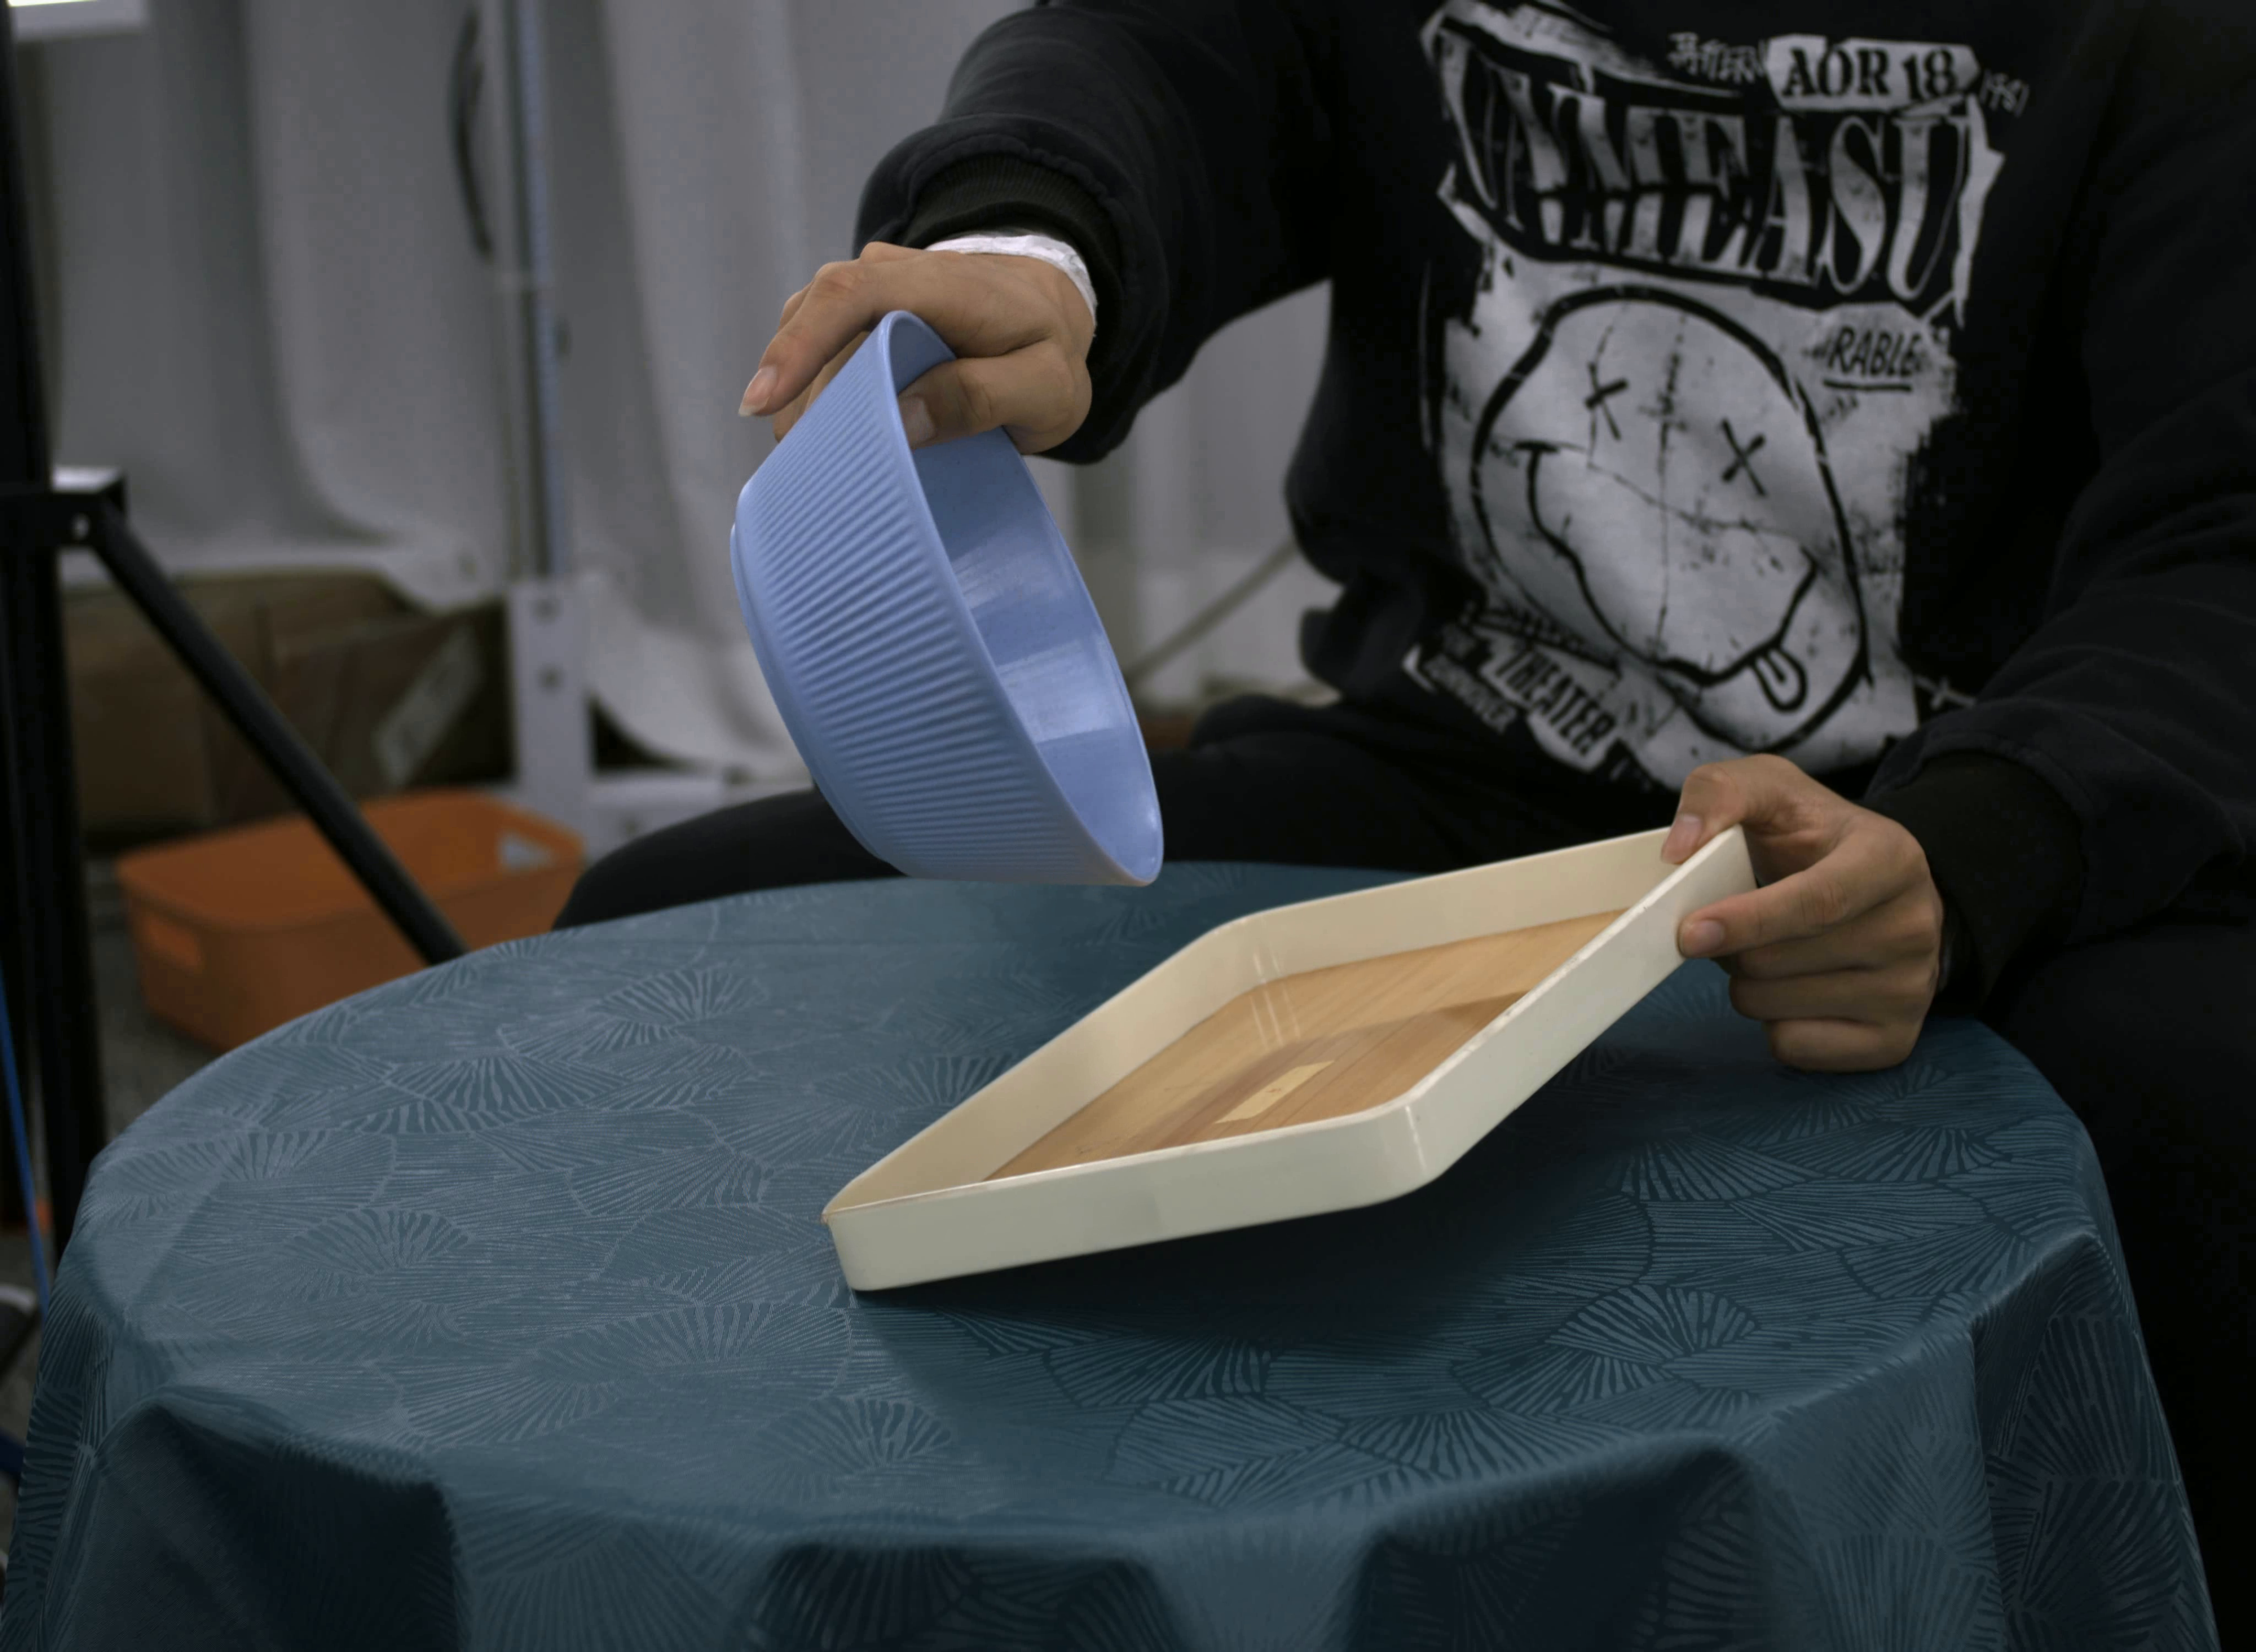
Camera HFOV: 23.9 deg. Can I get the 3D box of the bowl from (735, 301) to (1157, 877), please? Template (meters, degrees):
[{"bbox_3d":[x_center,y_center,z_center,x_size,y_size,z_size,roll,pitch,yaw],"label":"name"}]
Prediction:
[{"bbox_3d":[-0.057,-0.055,1.503,0.070,0.175,0.176,-23,13,10],"label":"bowl"}]

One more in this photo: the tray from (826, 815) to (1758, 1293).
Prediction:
[{"bbox_3d":[0.056,0.065,1.563,0.194,0.027,0.296,-13,10,29],"label":"tray"}]
